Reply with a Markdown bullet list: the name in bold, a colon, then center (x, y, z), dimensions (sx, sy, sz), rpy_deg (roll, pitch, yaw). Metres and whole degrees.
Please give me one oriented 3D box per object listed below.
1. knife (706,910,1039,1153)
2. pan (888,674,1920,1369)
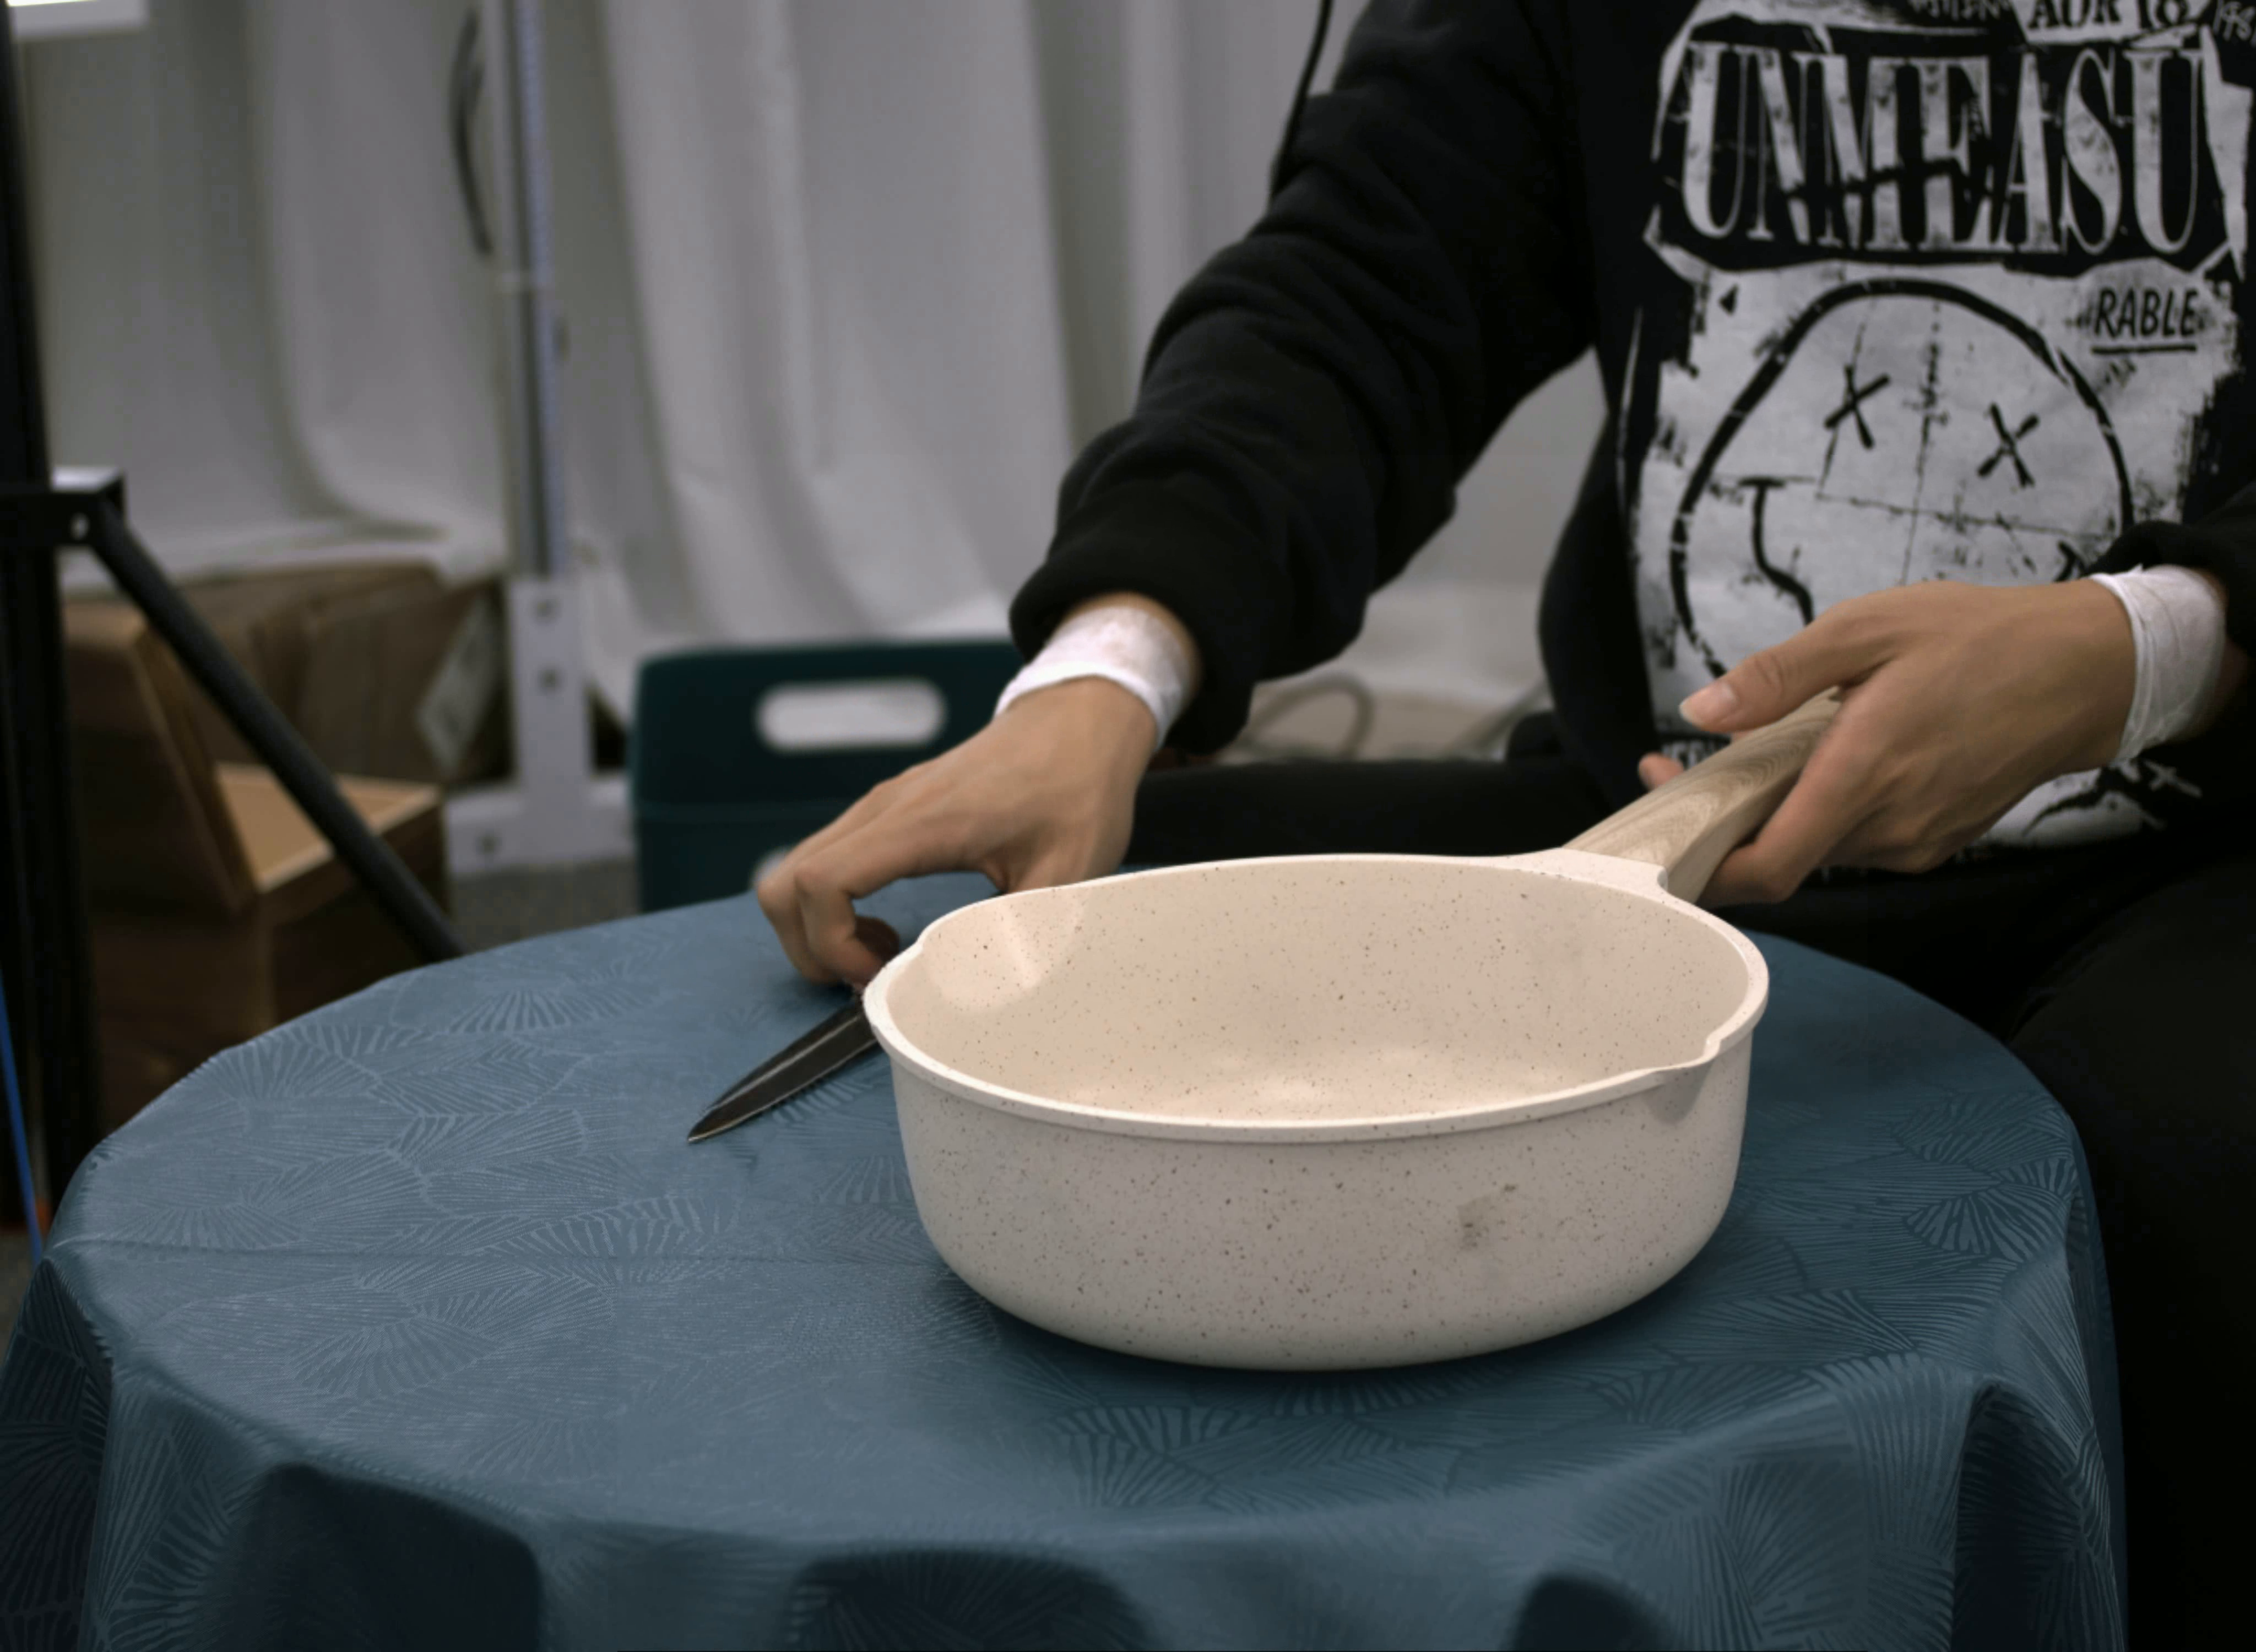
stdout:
- **knife**: center (-0.083, 0.065, 1.706), dimensions (0.026, 0.017, 0.222), rpy_deg (22, 25, 19)
- **pan**: center (0.116, 0.053, 1.549), dimensions (0.269, 0.102, 0.425), rpy_deg (8, 19, 39)
